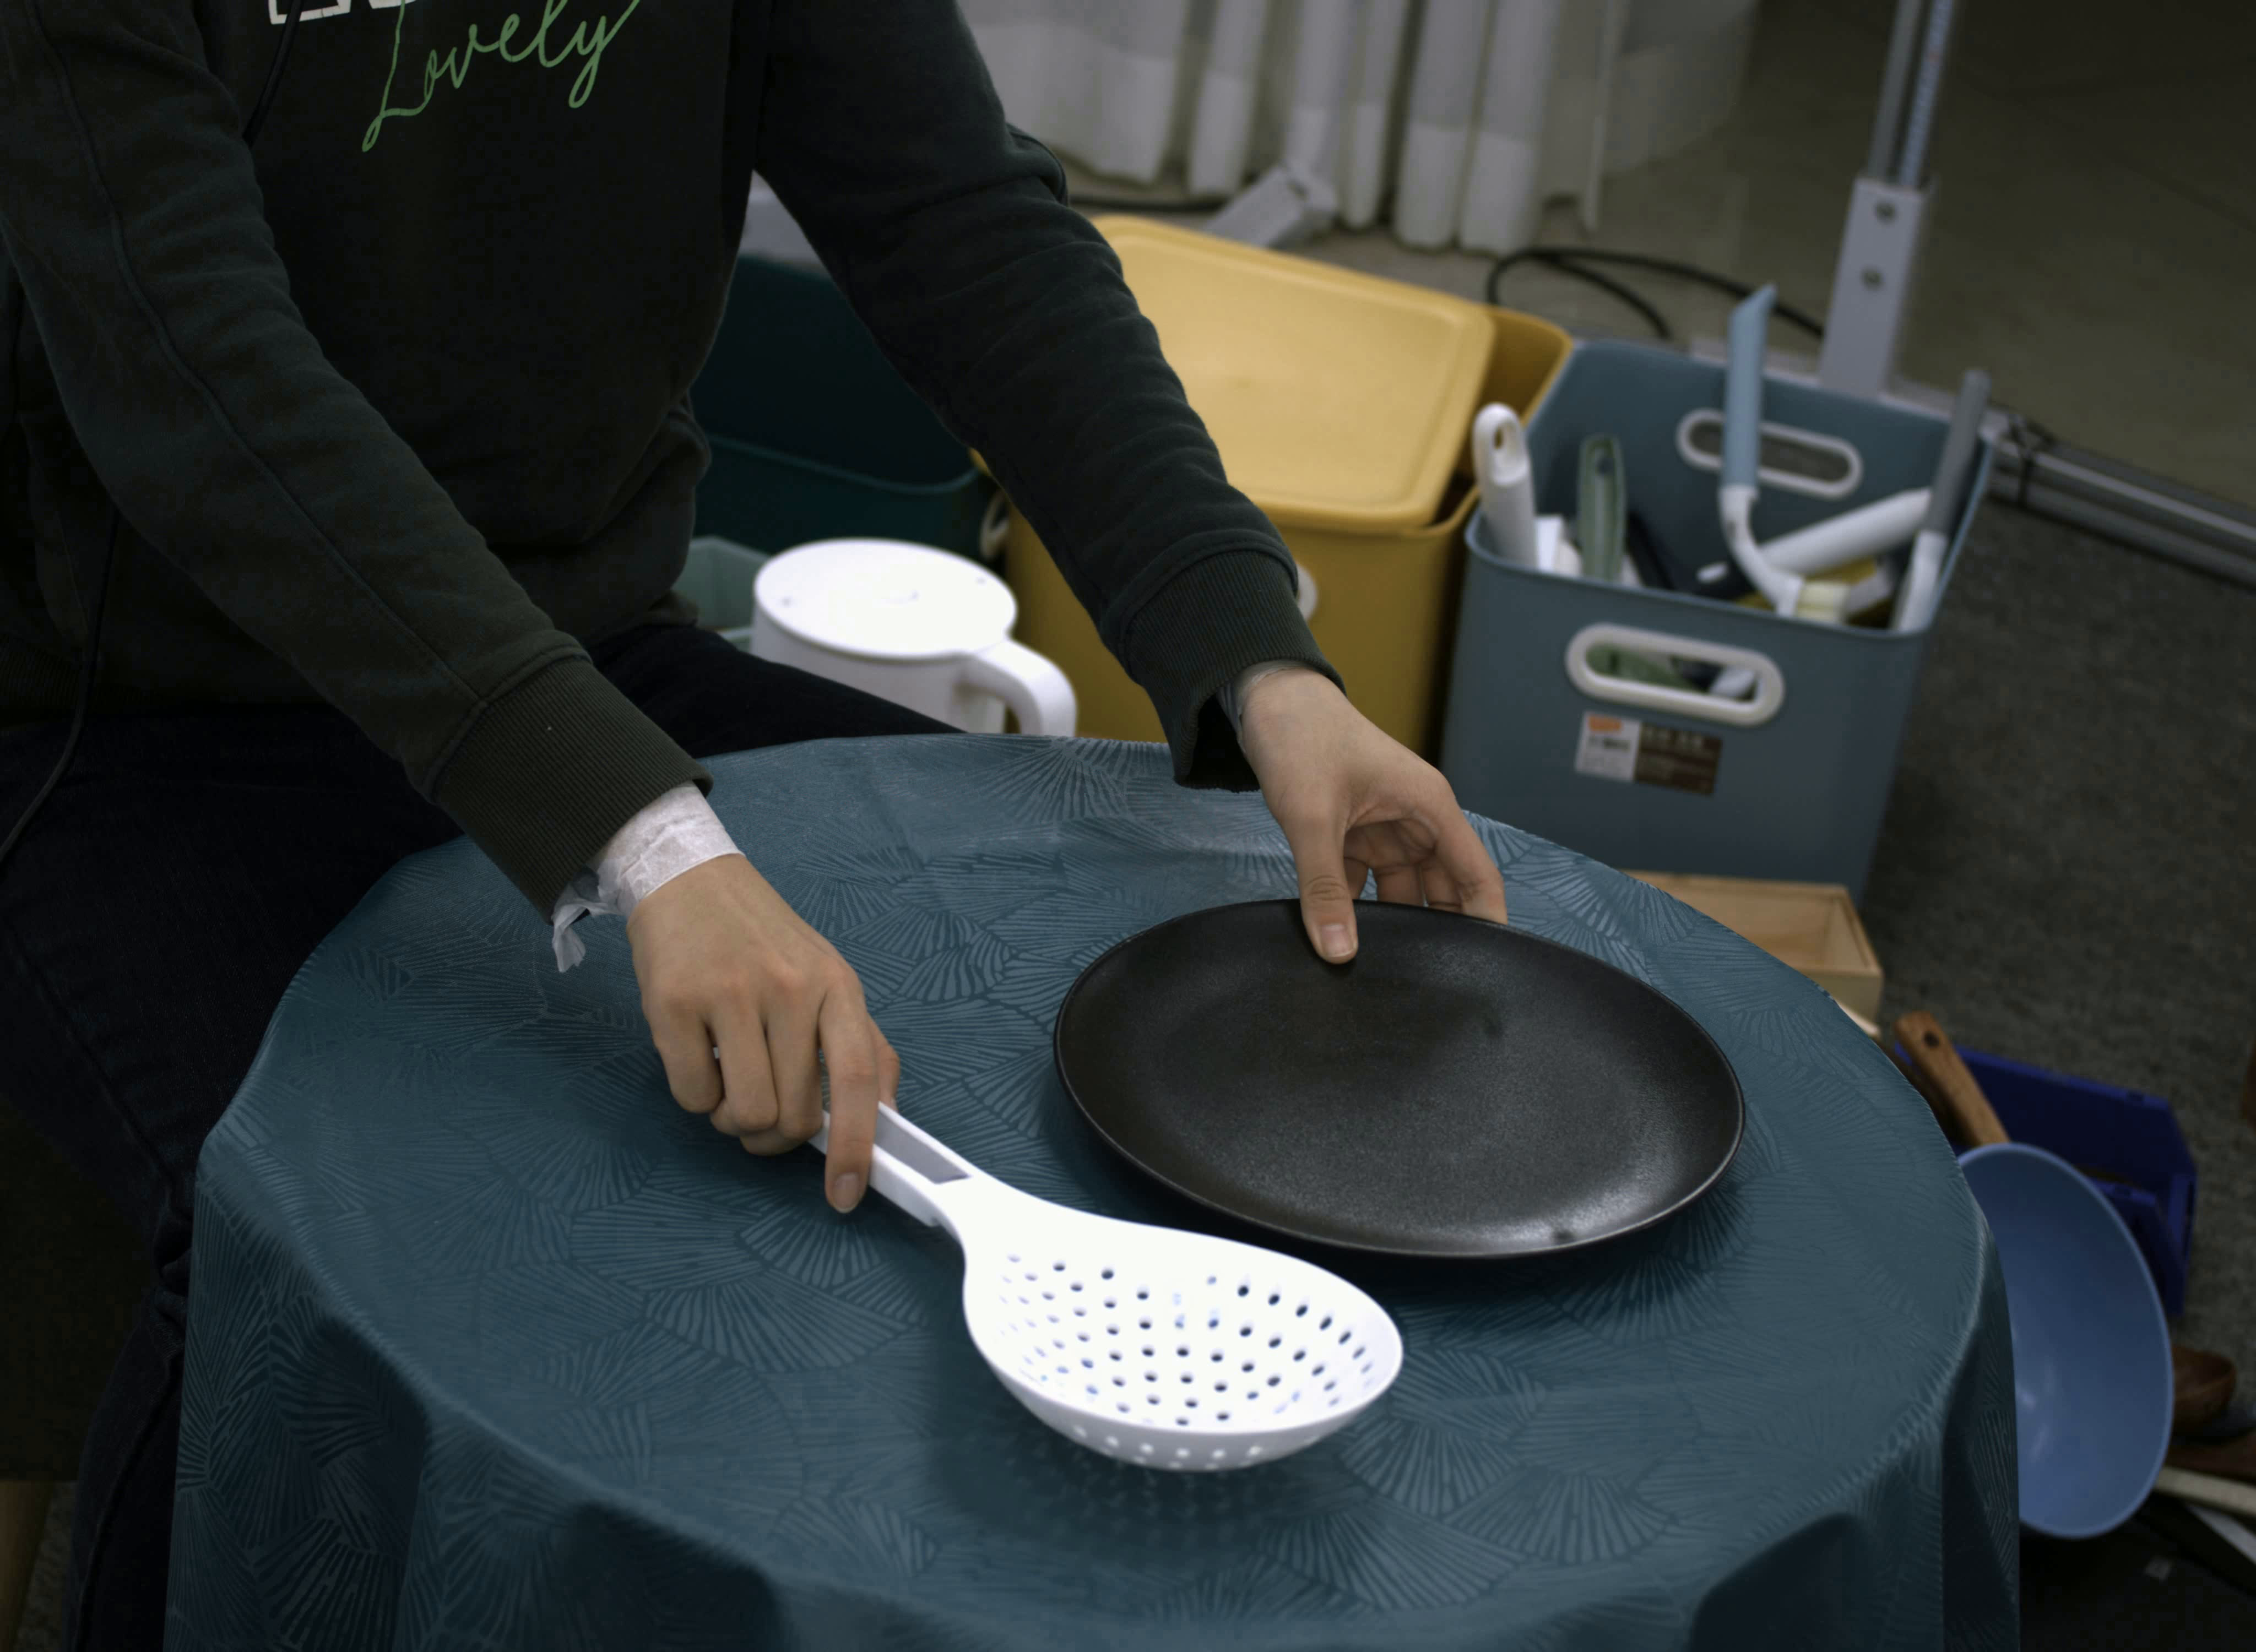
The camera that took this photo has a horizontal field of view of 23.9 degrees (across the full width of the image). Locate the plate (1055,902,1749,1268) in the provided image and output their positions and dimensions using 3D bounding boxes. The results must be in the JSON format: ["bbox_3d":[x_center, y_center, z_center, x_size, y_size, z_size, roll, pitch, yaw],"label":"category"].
[{"bbox_3d":[0.094,0.093,1.854,0.243,0.023,0.246,5,27,-3],"label":"plate"}]

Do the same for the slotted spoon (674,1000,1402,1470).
[{"bbox_3d":[-0.047,0.127,1.733,0.135,0.045,0.353,-8,29,-36],"label":"slotted spoon"}]
